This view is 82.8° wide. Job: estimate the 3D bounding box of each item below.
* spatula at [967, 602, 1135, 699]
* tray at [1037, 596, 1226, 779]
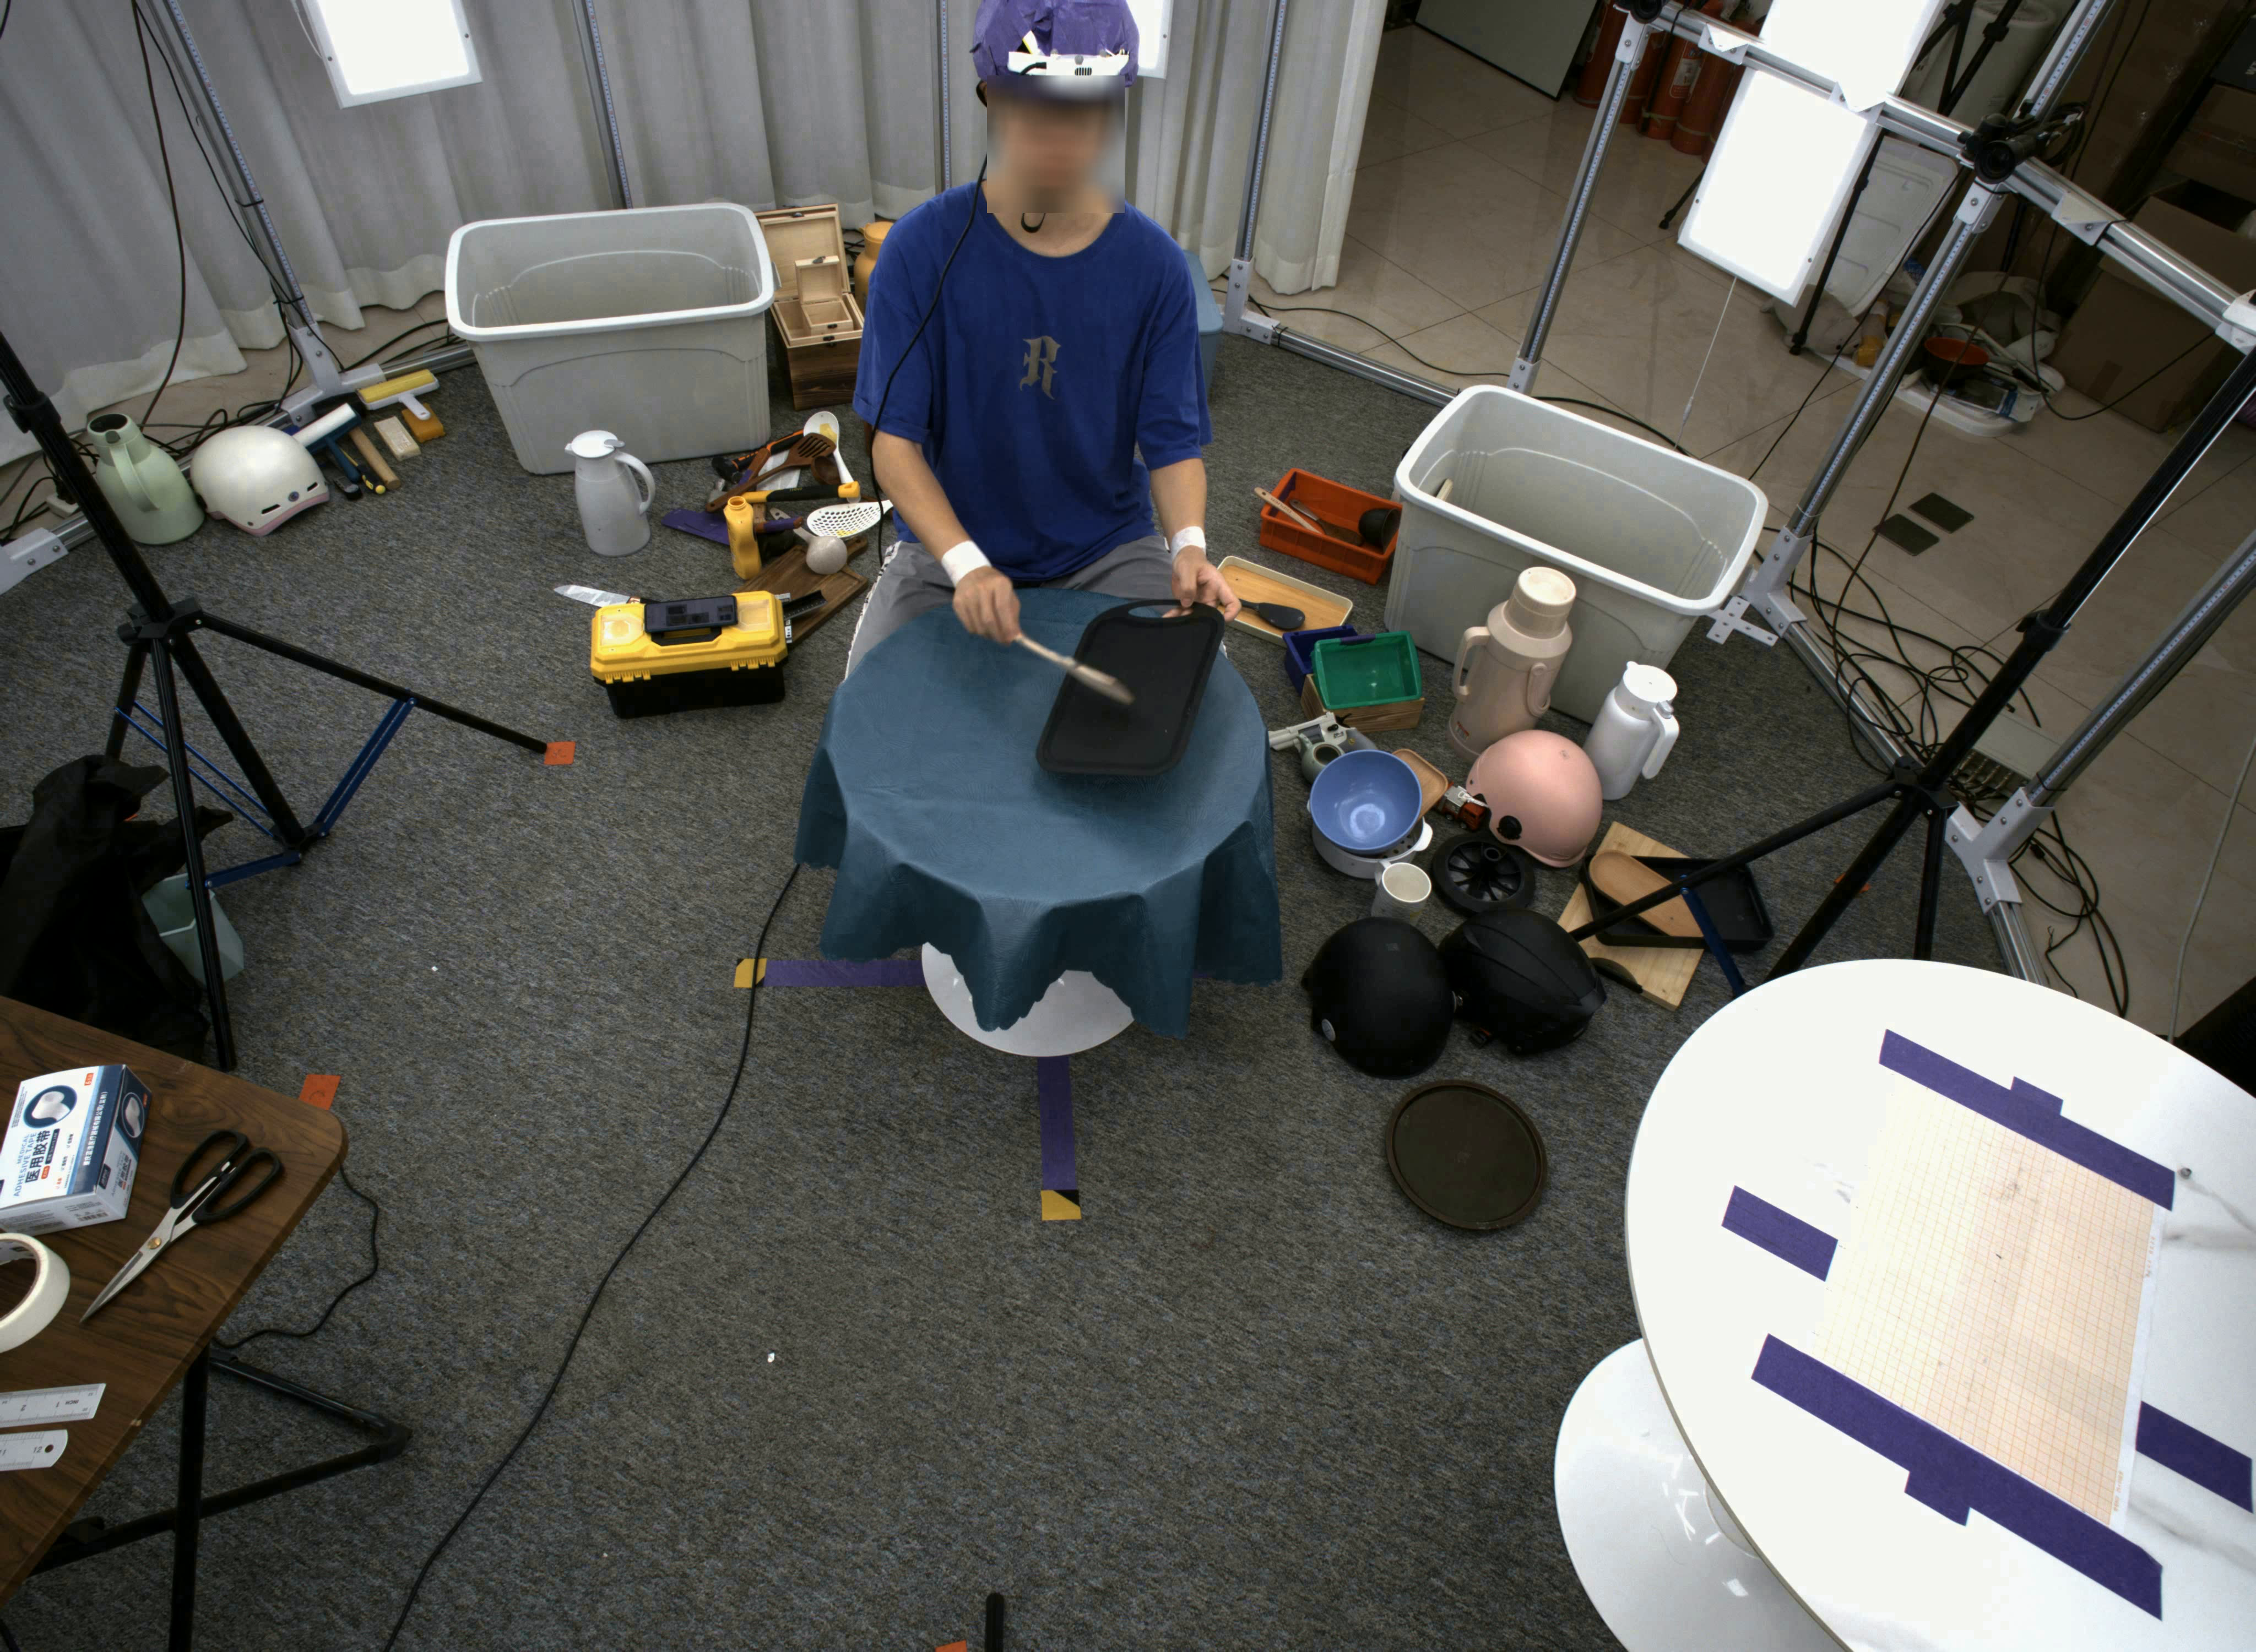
[{"bbox_3d":[-0.113,-0.243,1.737,0.297,0.071,0.011,31,87,30],"label":"spatula"},{"bbox_3d":[0.008,-0.196,1.736,0.212,0.009,0.332,4,54,24],"label":"tray"}]
